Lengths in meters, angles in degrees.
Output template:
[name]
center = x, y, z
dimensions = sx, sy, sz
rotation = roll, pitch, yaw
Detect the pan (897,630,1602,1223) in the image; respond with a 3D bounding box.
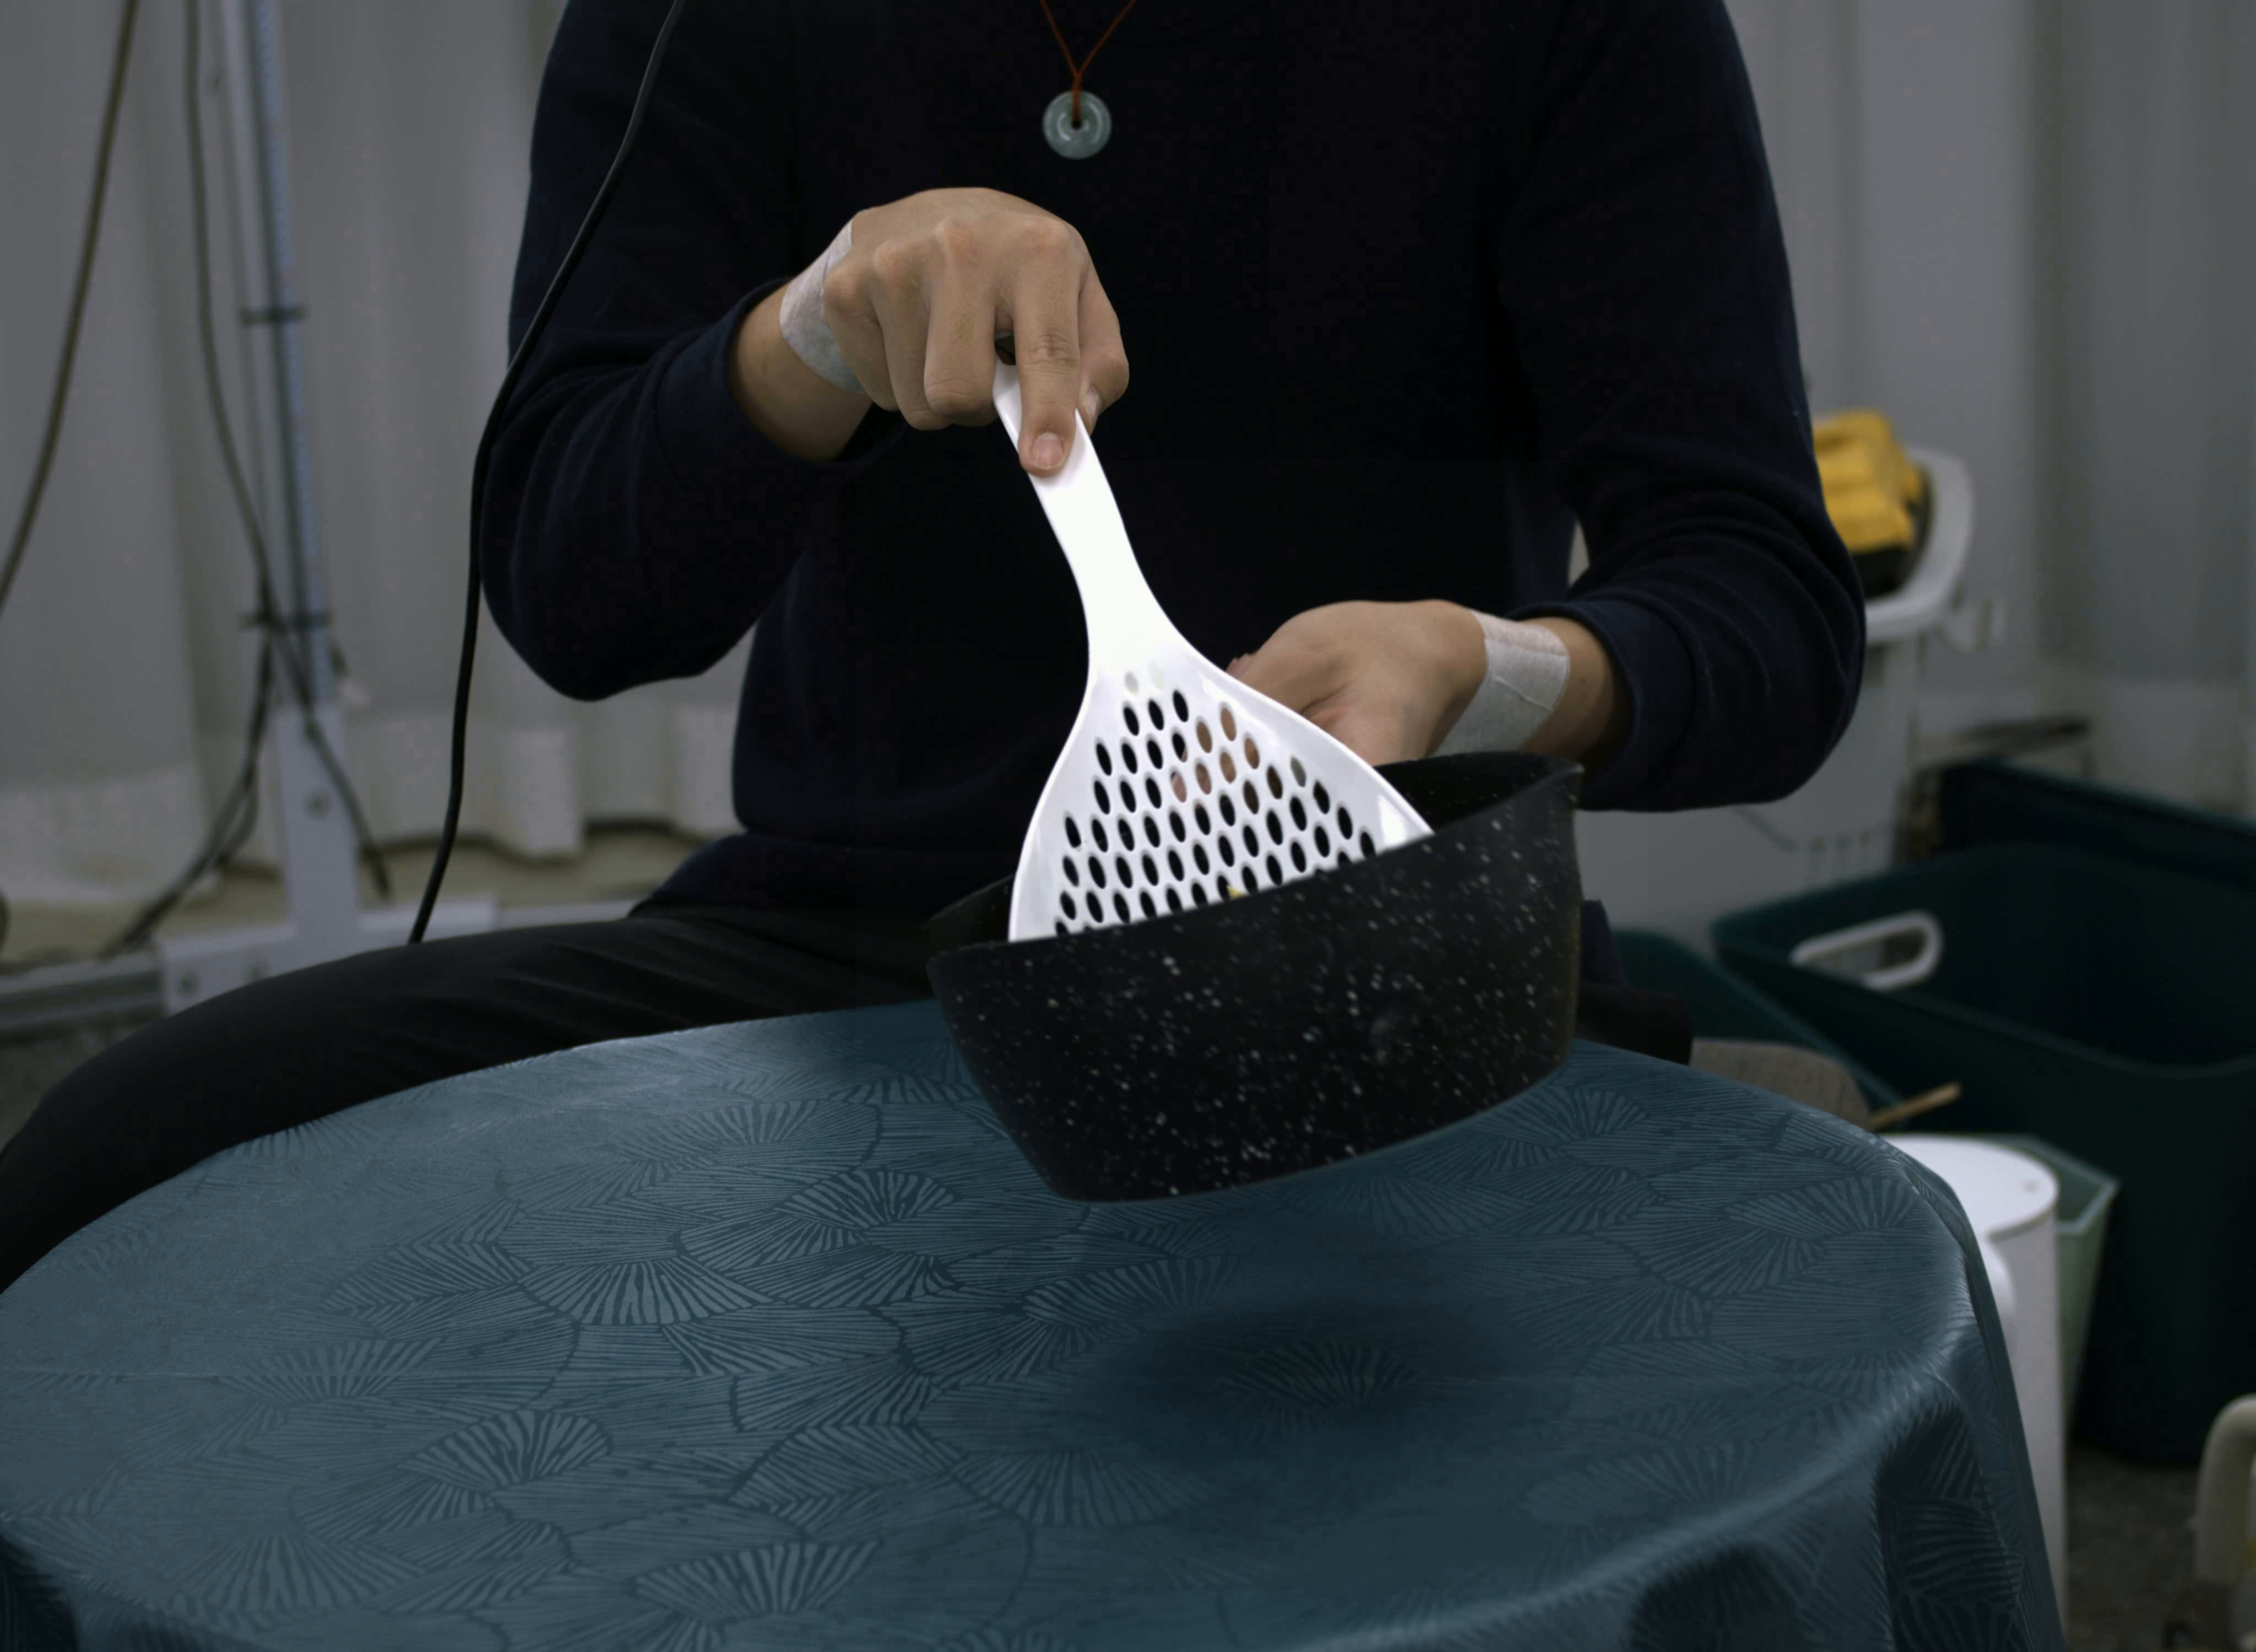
[pan]
center = 0.044, 0.021, 1.616
dimensions = 0.207, 0.108, 0.344
rotation = -15, 10, 6

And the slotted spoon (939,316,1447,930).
[slotted spoon]
center = 0.003, -0.042, 1.638
dimensions = 0.136, 0.049, 0.353
rotation = -19, 56, -4
